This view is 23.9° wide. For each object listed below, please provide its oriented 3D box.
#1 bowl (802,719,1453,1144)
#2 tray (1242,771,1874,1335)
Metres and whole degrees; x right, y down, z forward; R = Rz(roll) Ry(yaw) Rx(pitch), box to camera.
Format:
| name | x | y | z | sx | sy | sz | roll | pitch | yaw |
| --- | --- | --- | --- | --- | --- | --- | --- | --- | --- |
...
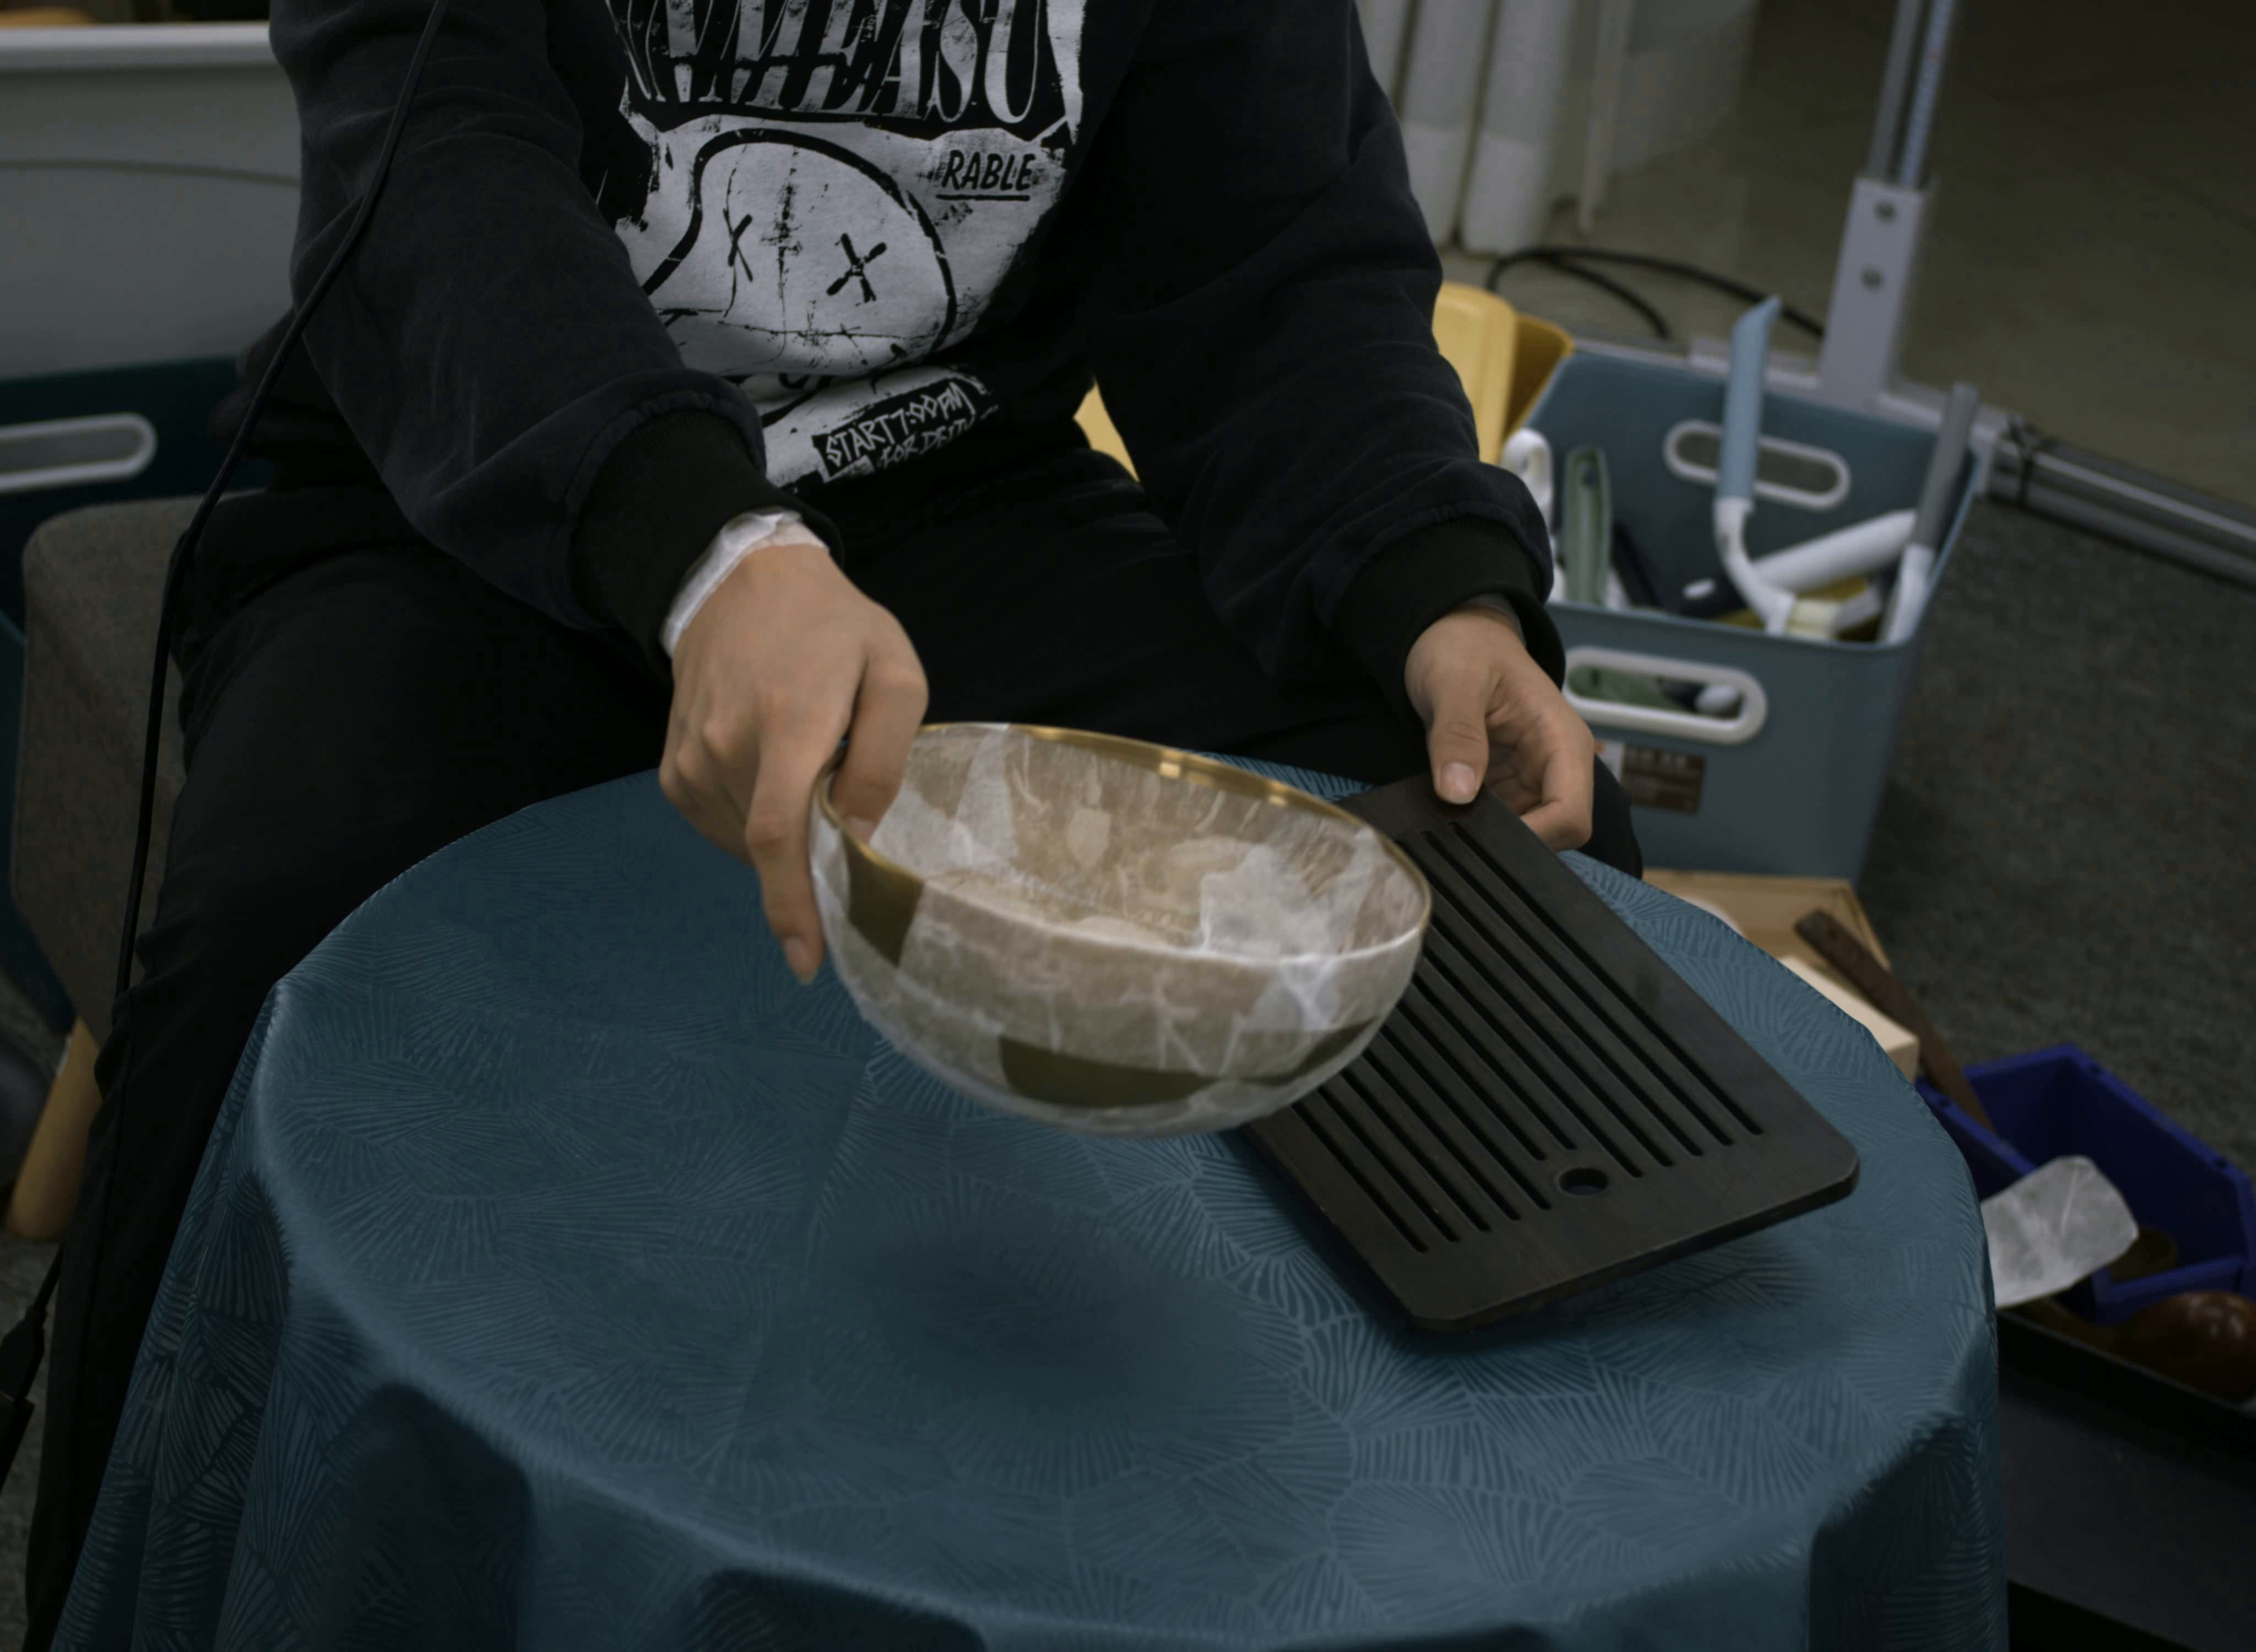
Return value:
| name | x | y | z | sx | sy | sz | roll | pitch | yaw |
| --- | --- | --- | --- | --- | --- | --- | --- | --- | --- |
| bowl | -0.010 | 0.043 | 1.691 | 0.214 | 0.094 | 0.215 | 10 | 18 | -4 |
| tray | 0.115 | 0.075 | 1.864 | 0.169 | 0.018 | 0.309 | -18 | 33 | -17 |
